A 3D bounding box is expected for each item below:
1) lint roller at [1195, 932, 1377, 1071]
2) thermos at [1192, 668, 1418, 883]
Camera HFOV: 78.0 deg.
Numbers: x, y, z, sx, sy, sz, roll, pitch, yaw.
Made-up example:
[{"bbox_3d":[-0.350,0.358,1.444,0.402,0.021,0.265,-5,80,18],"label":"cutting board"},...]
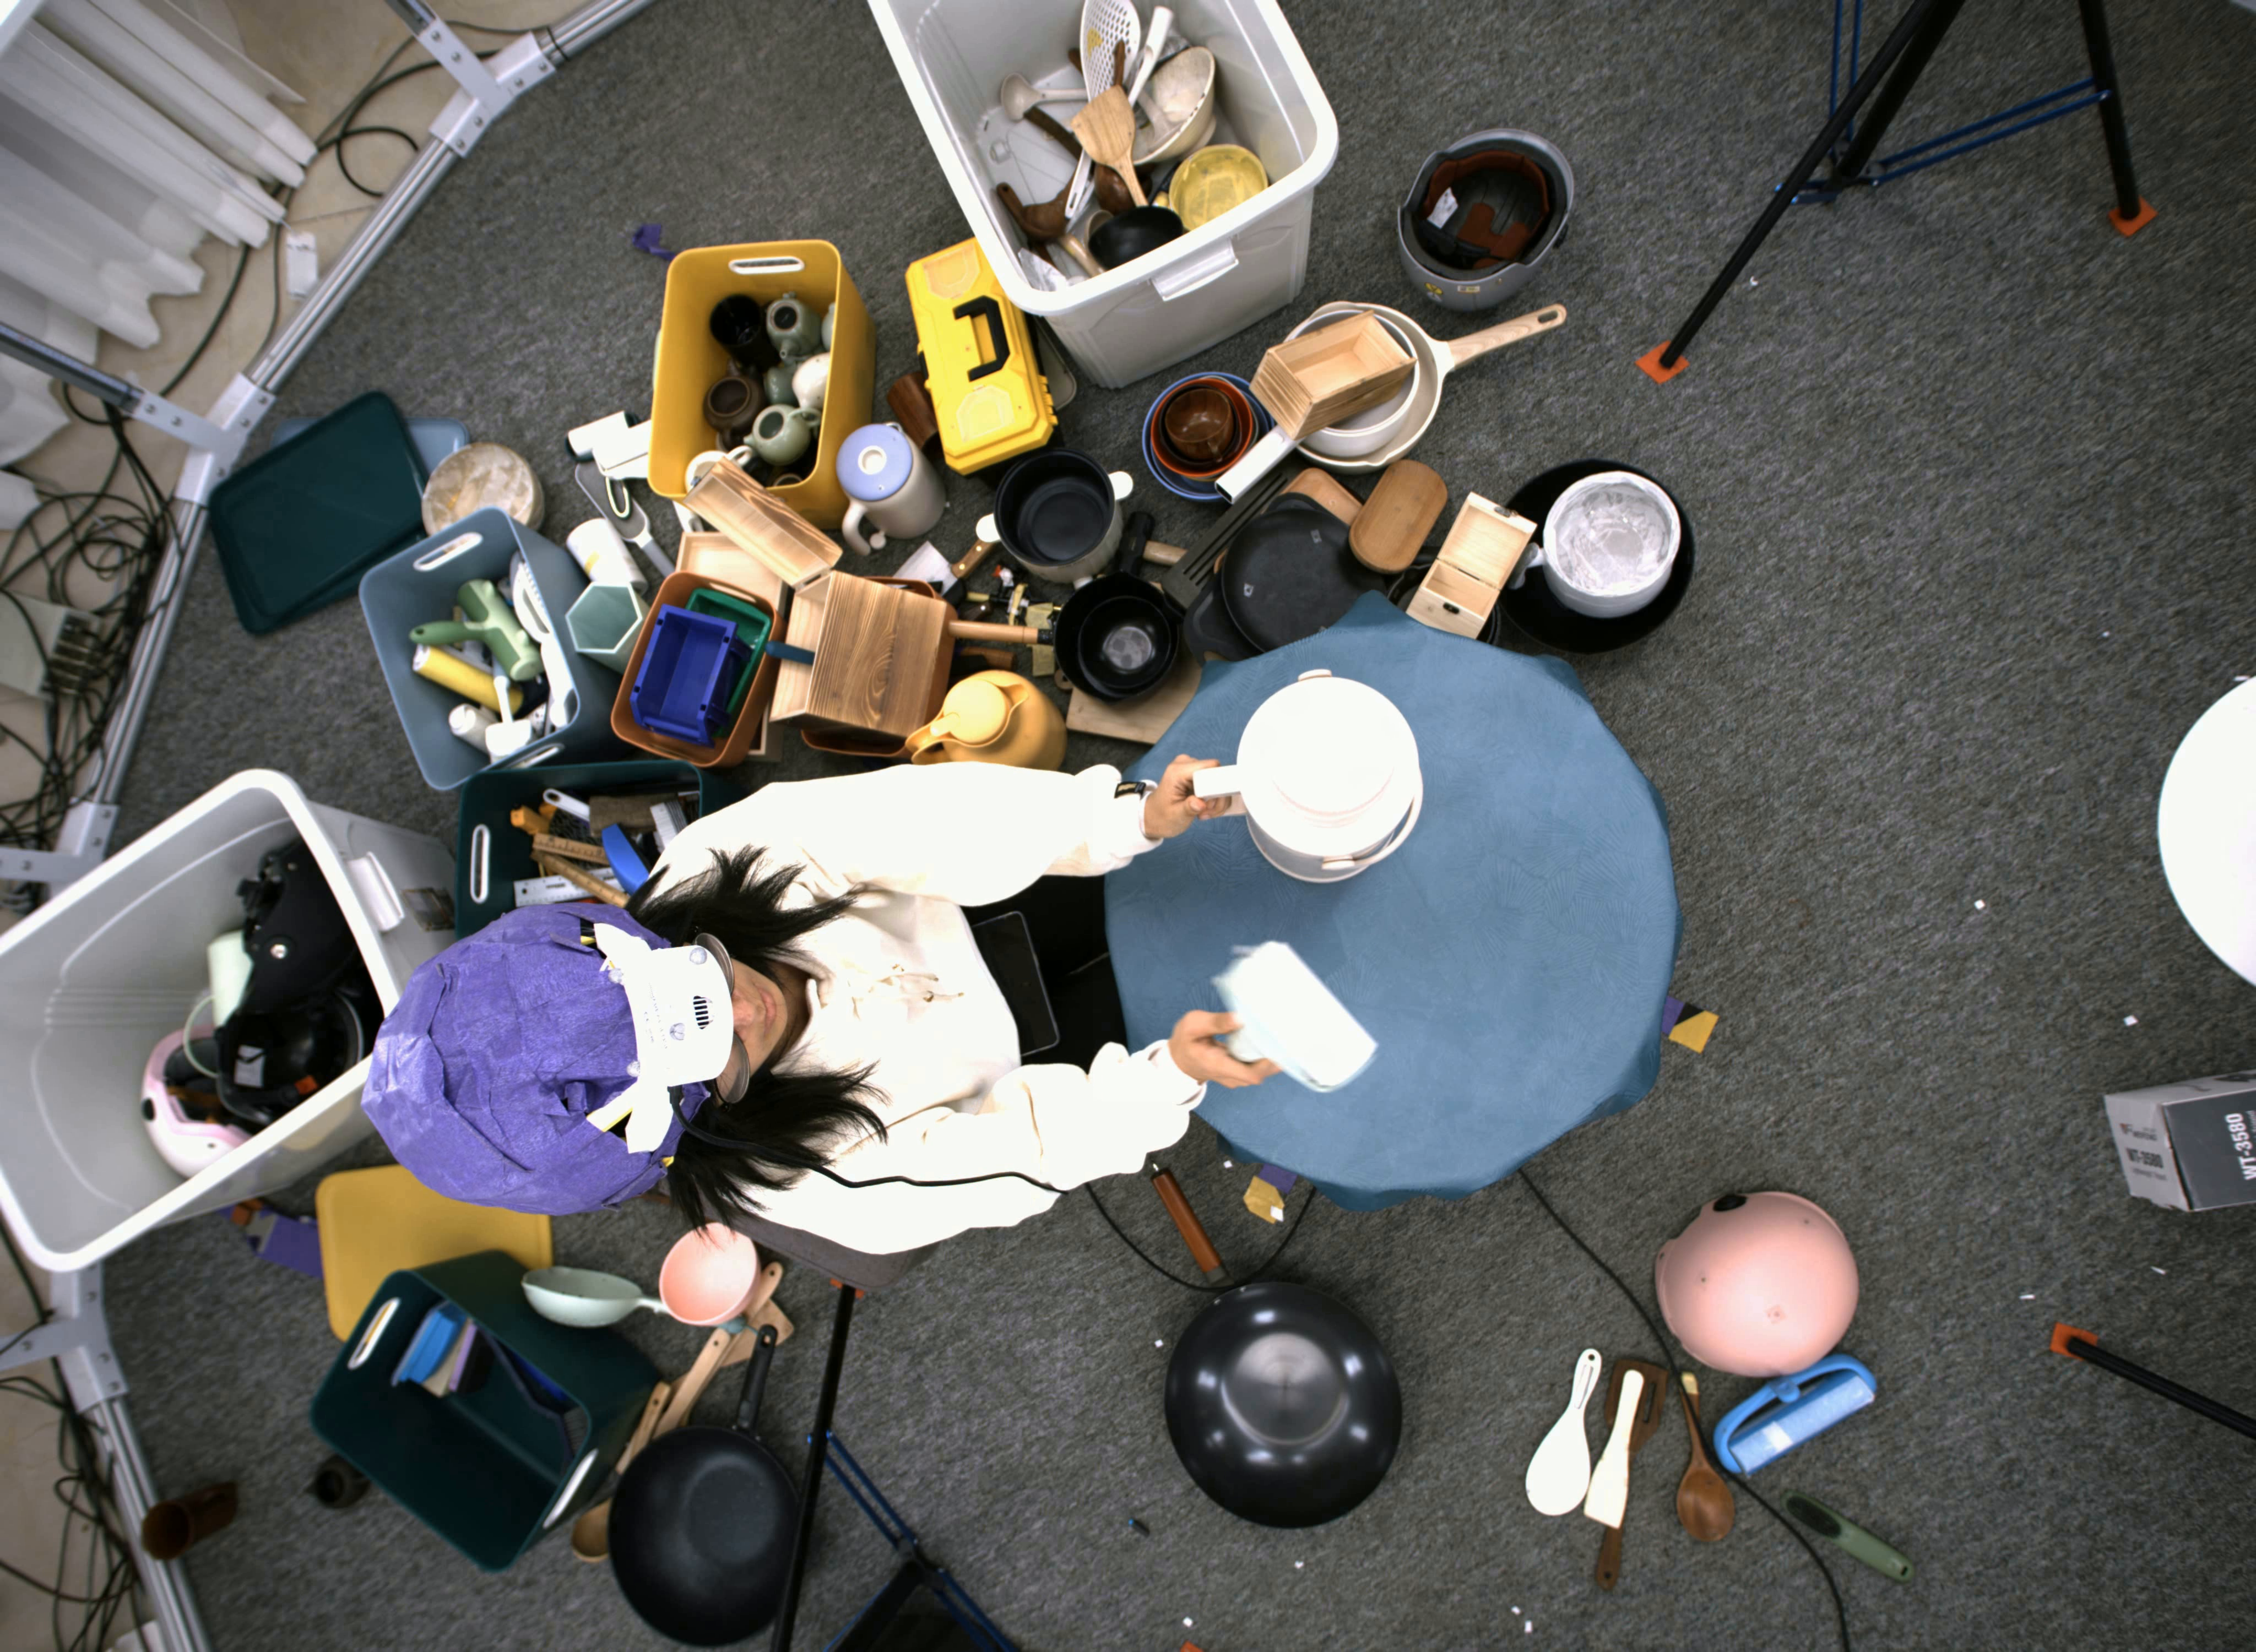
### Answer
[{"bbox_3d":[0.098,0.146,1.088,0.117,0.201,0.047,43,59,-12],"label":"lint roller"},{"bbox_3d":[0.169,-0.042,1.280,0.208,0.407,0.174,-7,84,7],"label":"thermos"}]
